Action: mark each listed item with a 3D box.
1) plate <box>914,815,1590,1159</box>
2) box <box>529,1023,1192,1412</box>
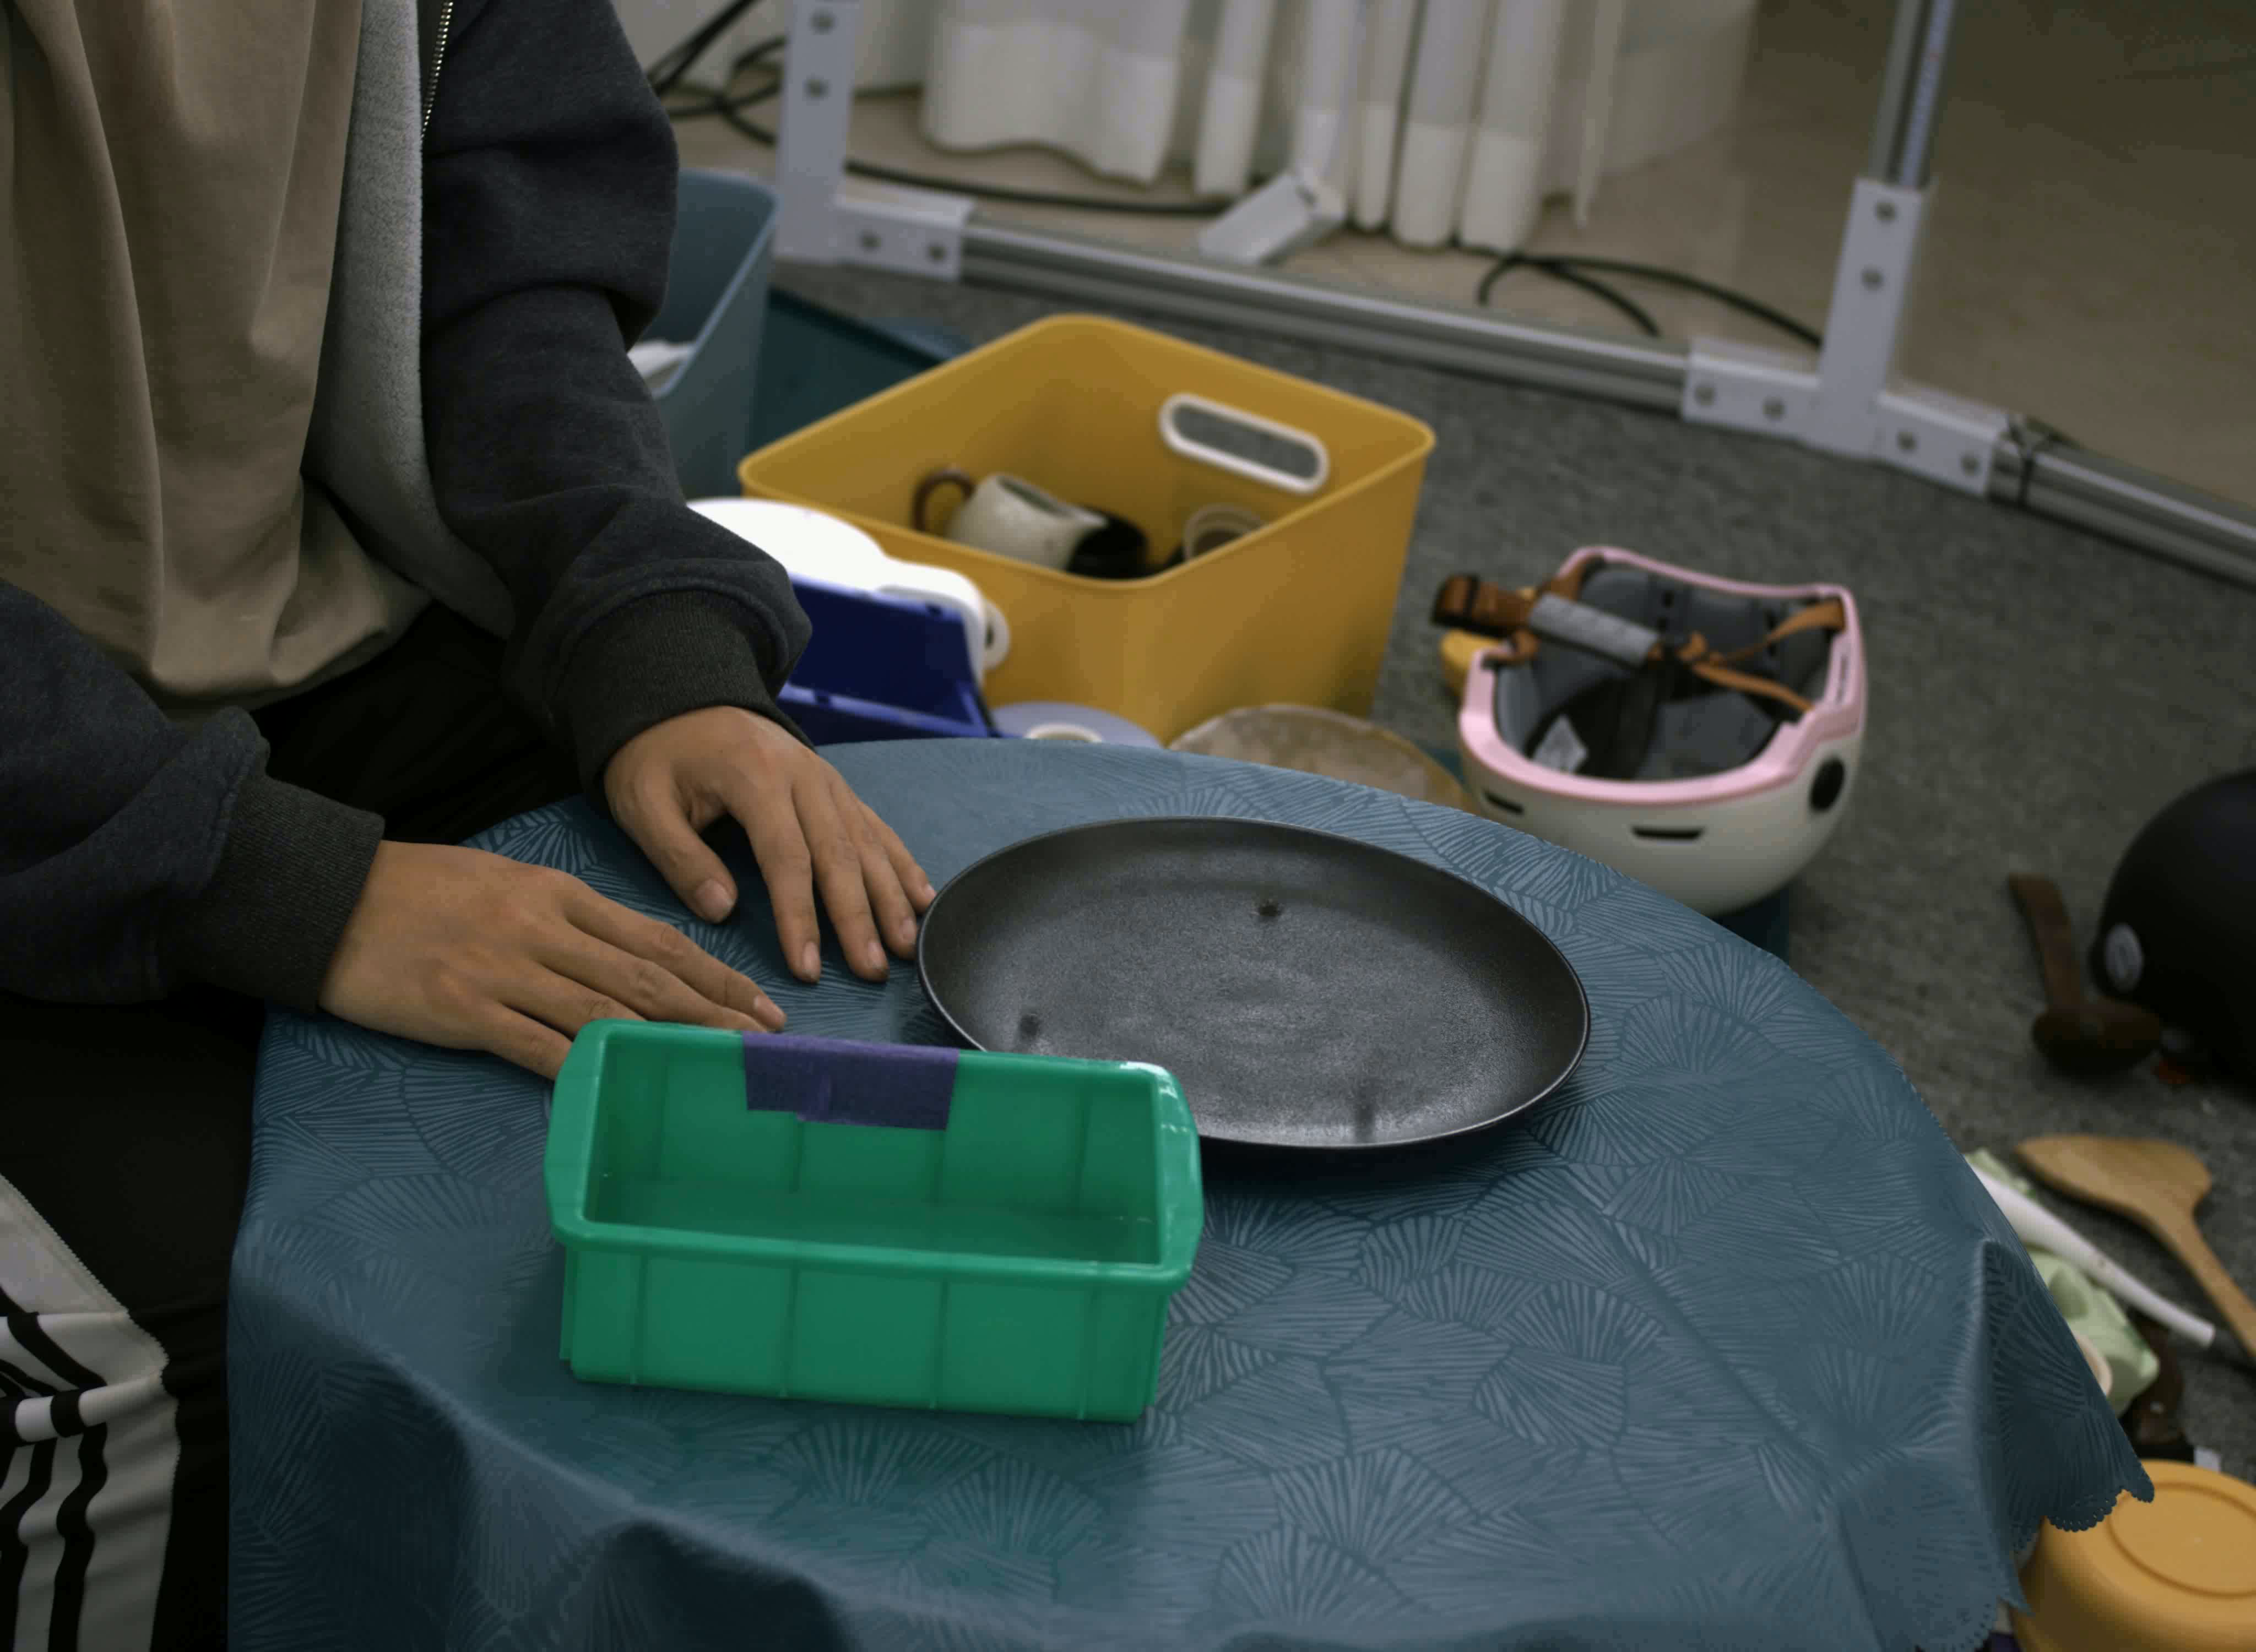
[{"bbox_3d":[0.043,0.062,1.907,0.243,0.023,0.246,5,27,-3],"label":"plate"},{"bbox_3d":[-0.087,0.127,1.705,0.210,0.065,0.139,3,25,-3],"label":"box"}]
